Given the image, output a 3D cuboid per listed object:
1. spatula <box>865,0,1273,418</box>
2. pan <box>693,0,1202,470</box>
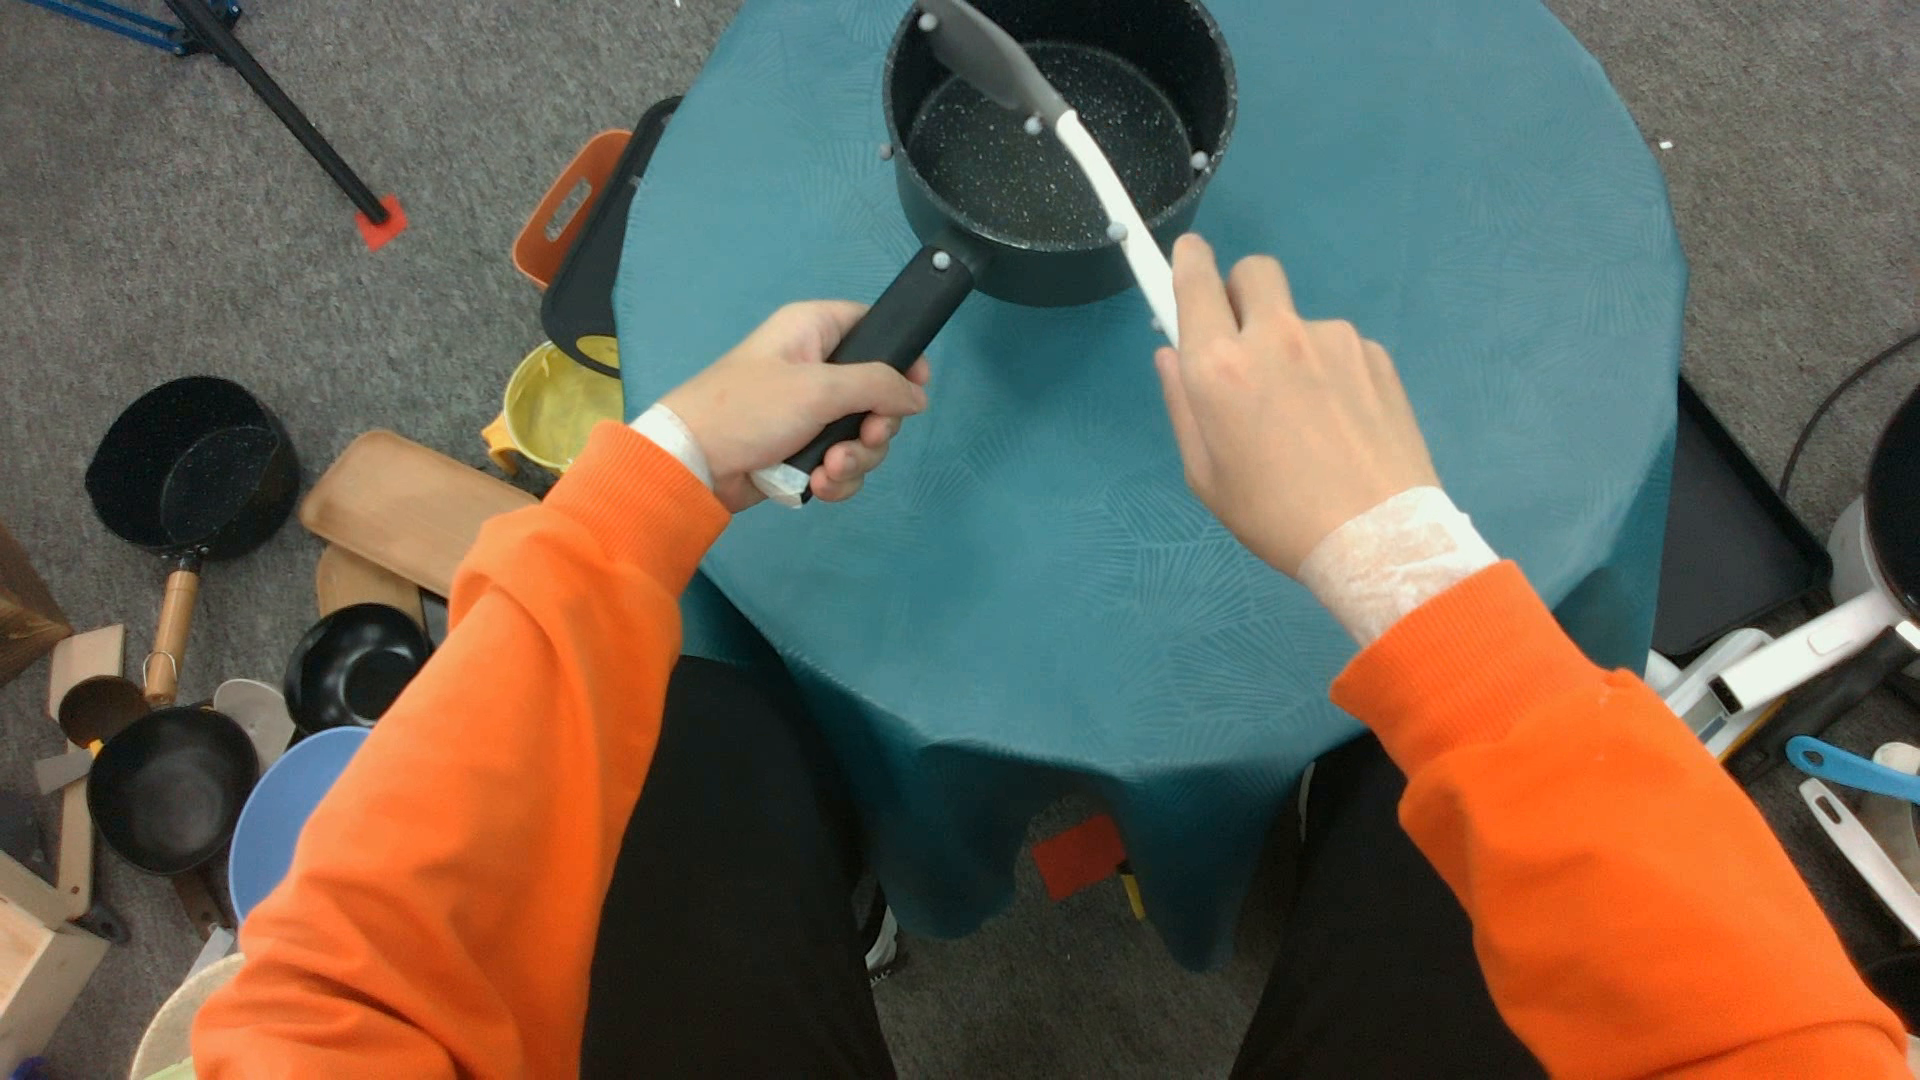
[{"bbox_3d":[0.038,-0.163,0.612,0.032,0.058,0.288,-34,64,-3],"label":"spatula"},{"bbox_3d":[-0.012,-0.156,0.676,0.172,0.086,0.329,33,74,10],"label":"pan"}]
